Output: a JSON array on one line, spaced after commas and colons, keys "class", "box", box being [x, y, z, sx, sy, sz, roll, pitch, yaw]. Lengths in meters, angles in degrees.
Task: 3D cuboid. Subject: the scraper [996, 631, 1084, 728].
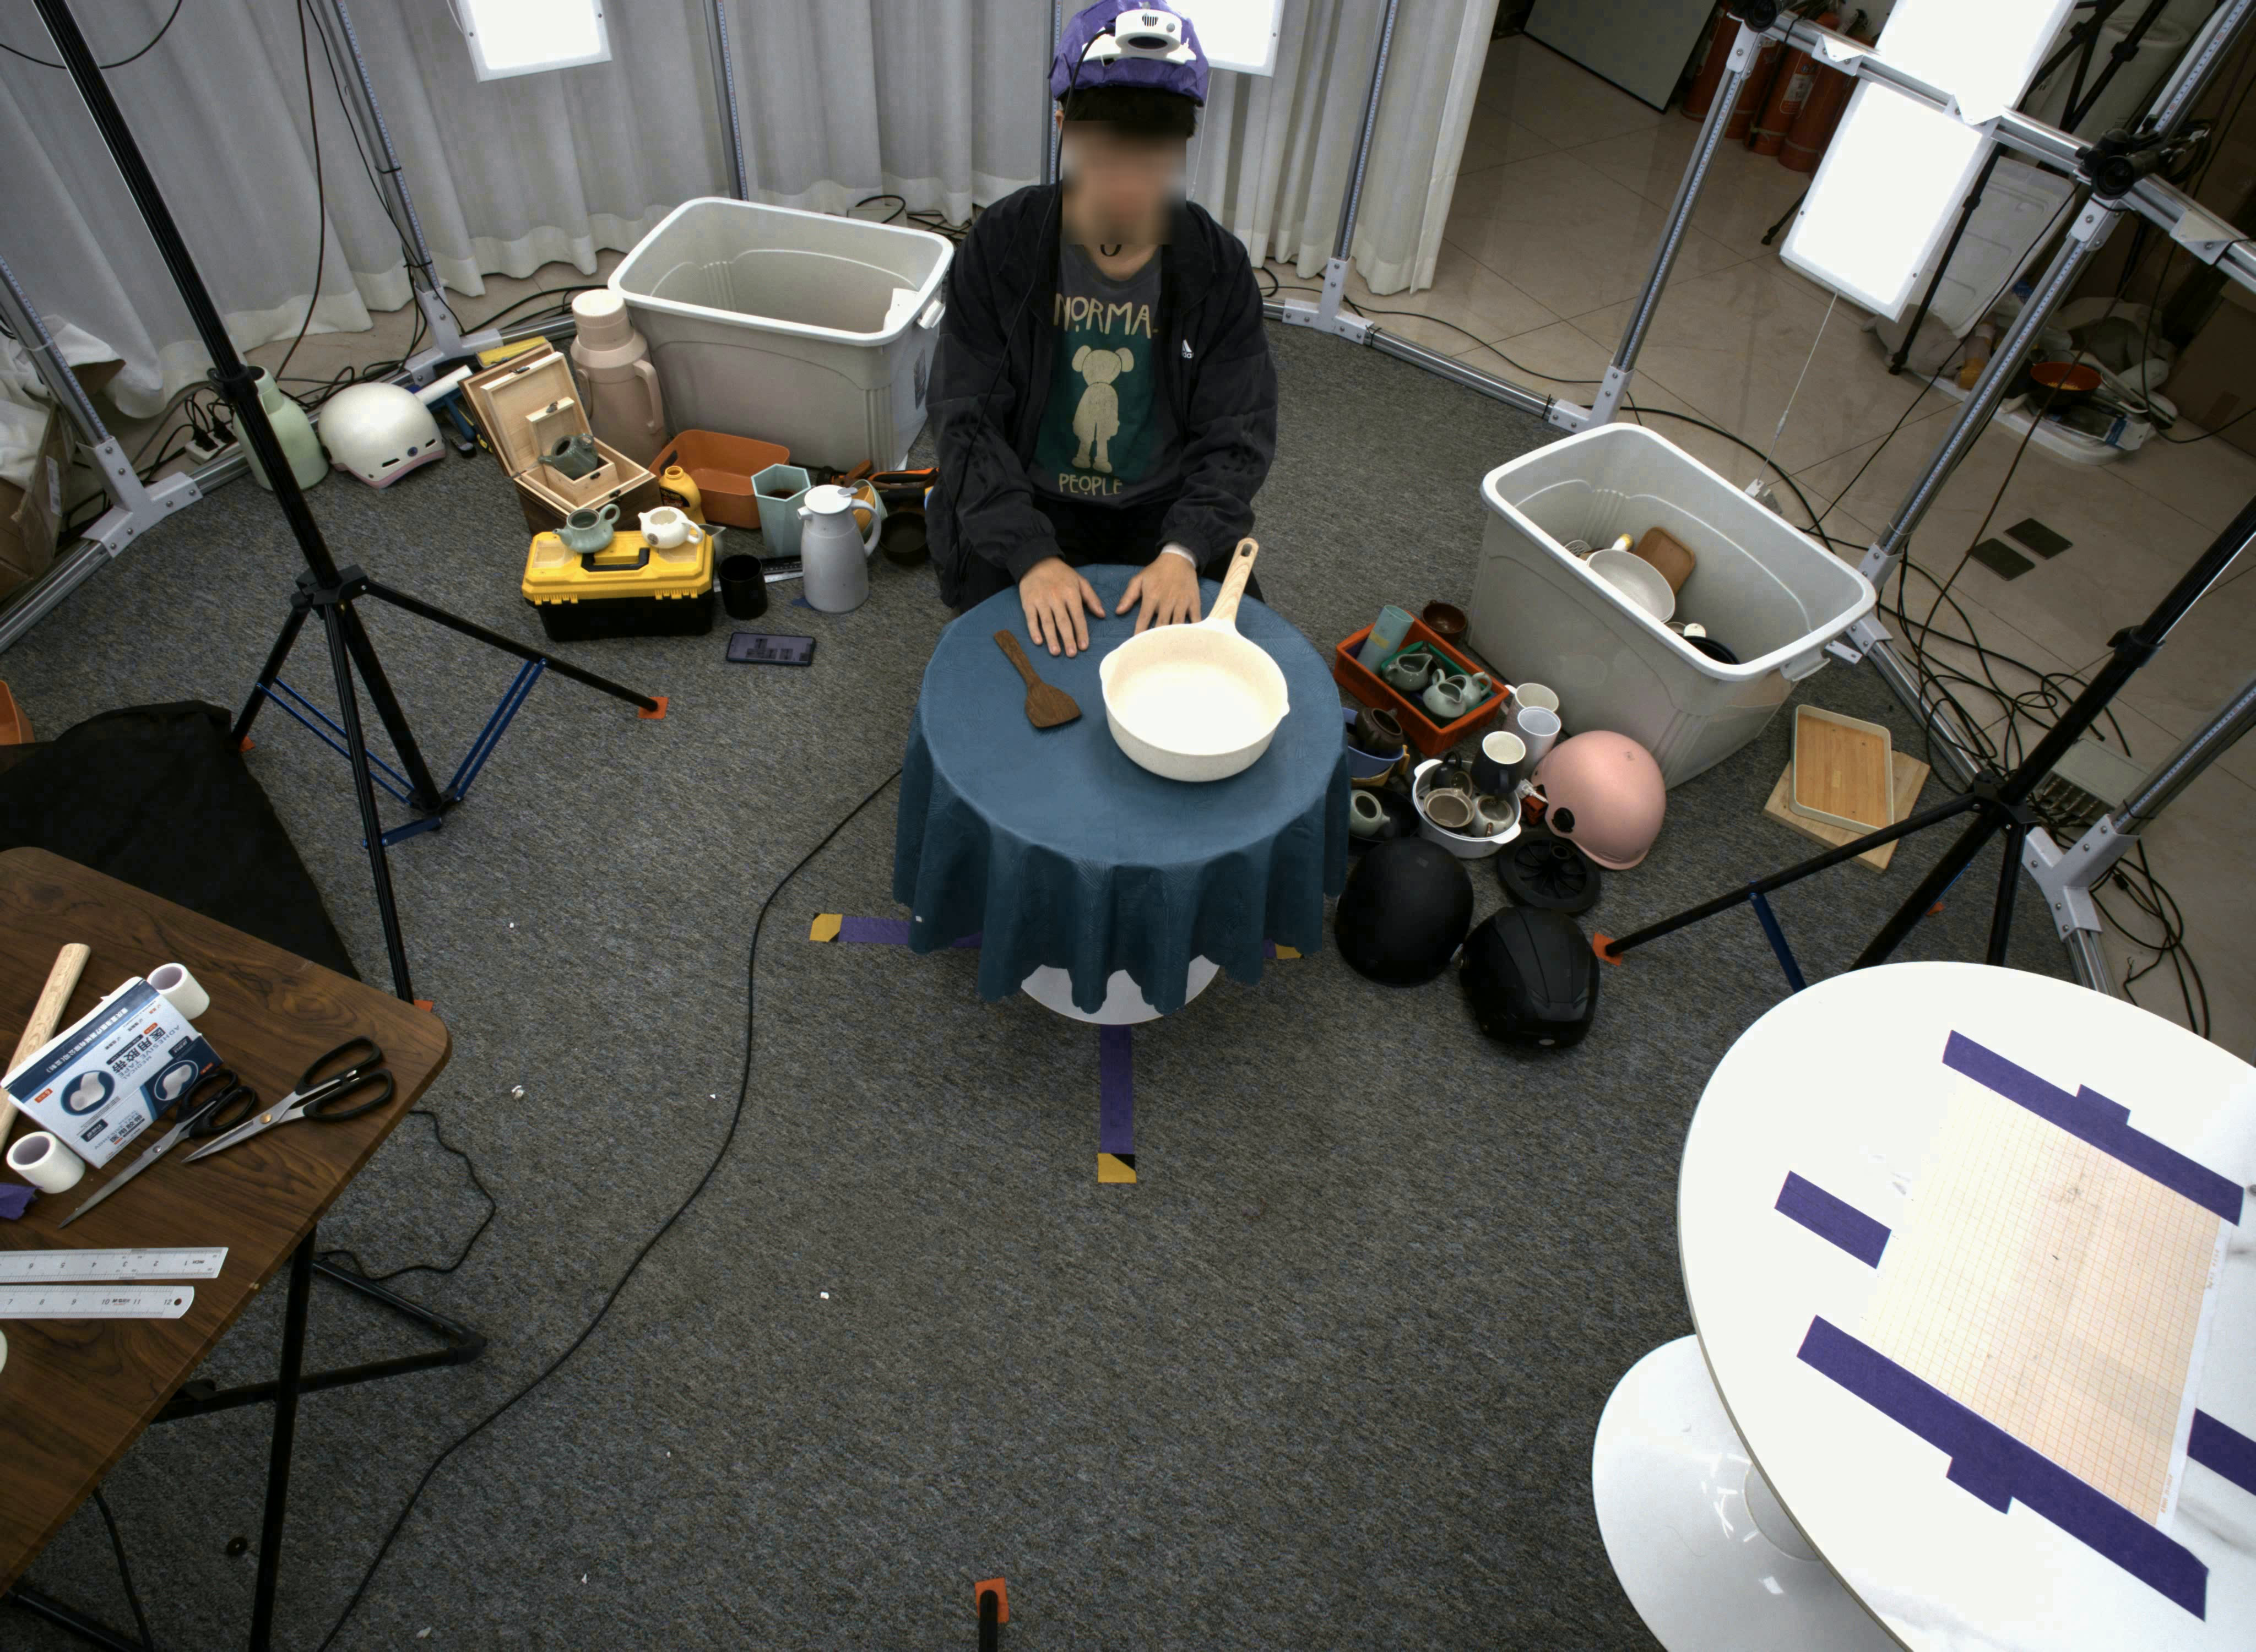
[{"class": "scraper", "box": [-0.138, -0.213, 1.839, 0.076, 0.010, 0.216, -18, 51, -20]}]

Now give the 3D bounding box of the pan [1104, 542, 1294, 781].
[{"class": "pan", "box": [0.120, -0.234, 1.815, 0.264, 0.099, 0.444, 13, 49, 10]}]
